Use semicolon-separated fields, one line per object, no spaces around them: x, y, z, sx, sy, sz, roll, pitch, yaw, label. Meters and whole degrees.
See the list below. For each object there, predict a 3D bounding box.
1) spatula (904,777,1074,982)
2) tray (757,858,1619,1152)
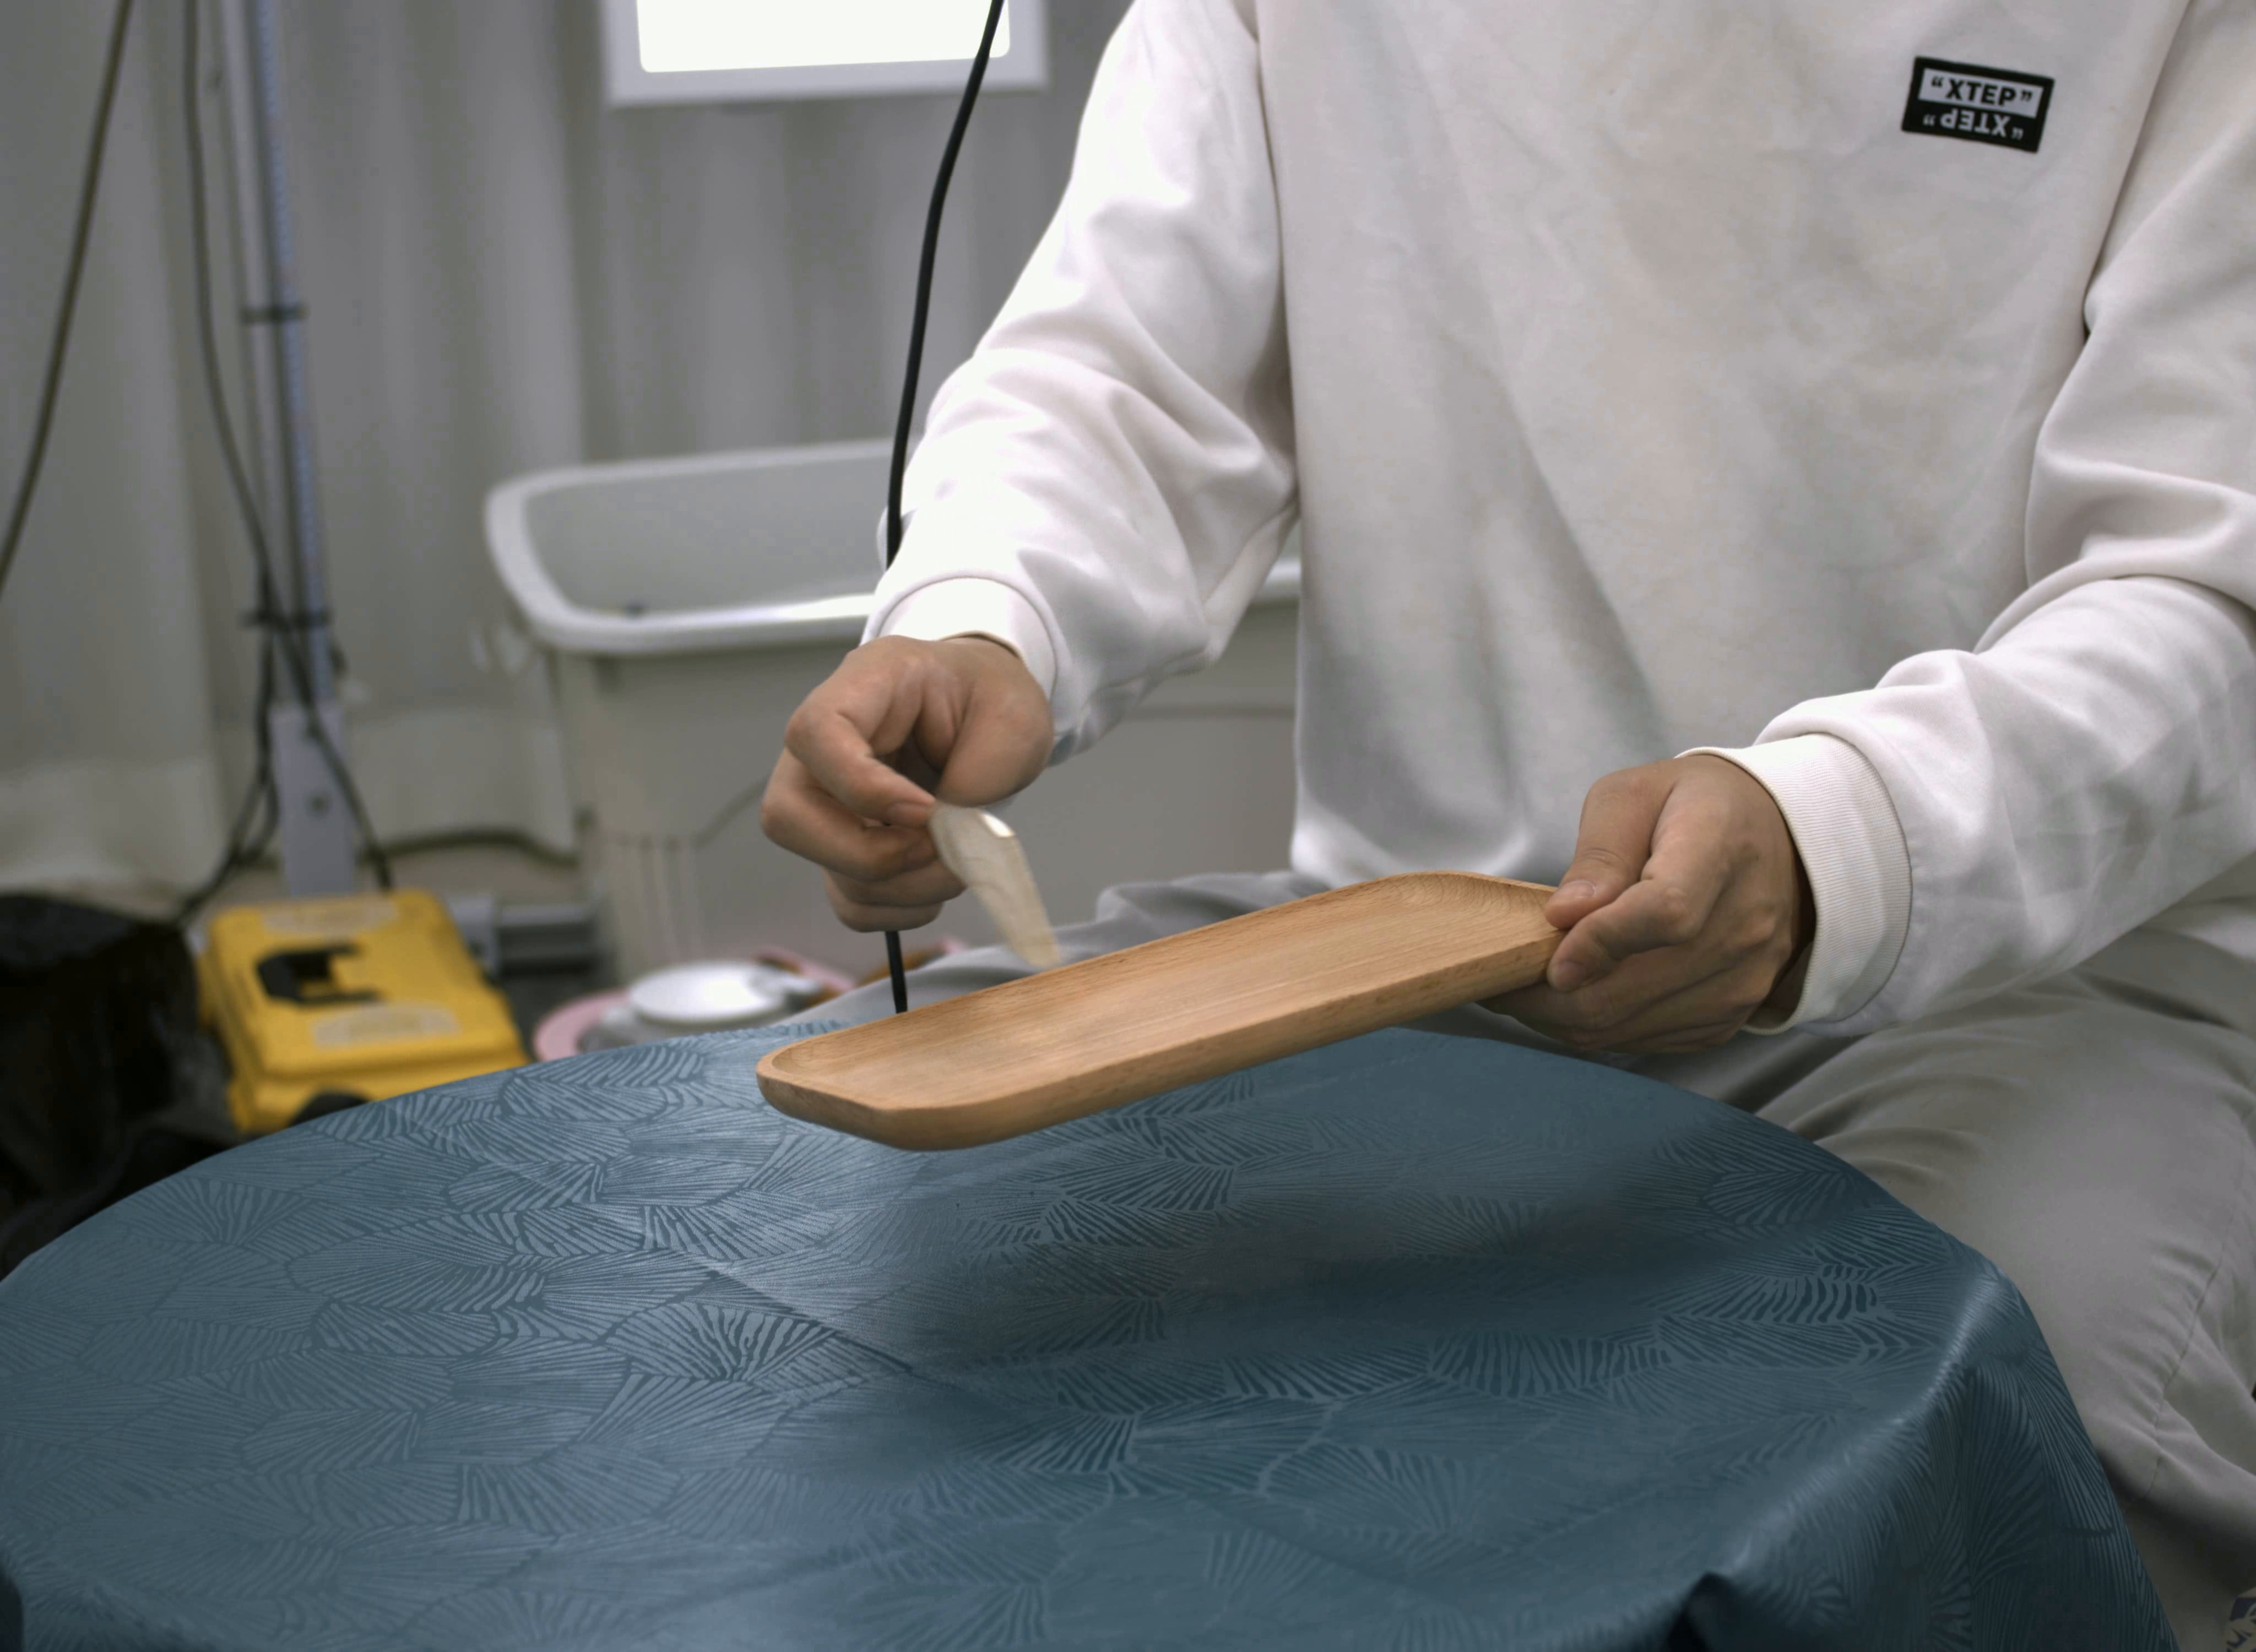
-0.046;0.009;1.655;0.005;0.050;0.209;-21;12;-9;spatula
0.019;0.051;1.618;0.250;0.023;0.131;-15;15;-27;tray
